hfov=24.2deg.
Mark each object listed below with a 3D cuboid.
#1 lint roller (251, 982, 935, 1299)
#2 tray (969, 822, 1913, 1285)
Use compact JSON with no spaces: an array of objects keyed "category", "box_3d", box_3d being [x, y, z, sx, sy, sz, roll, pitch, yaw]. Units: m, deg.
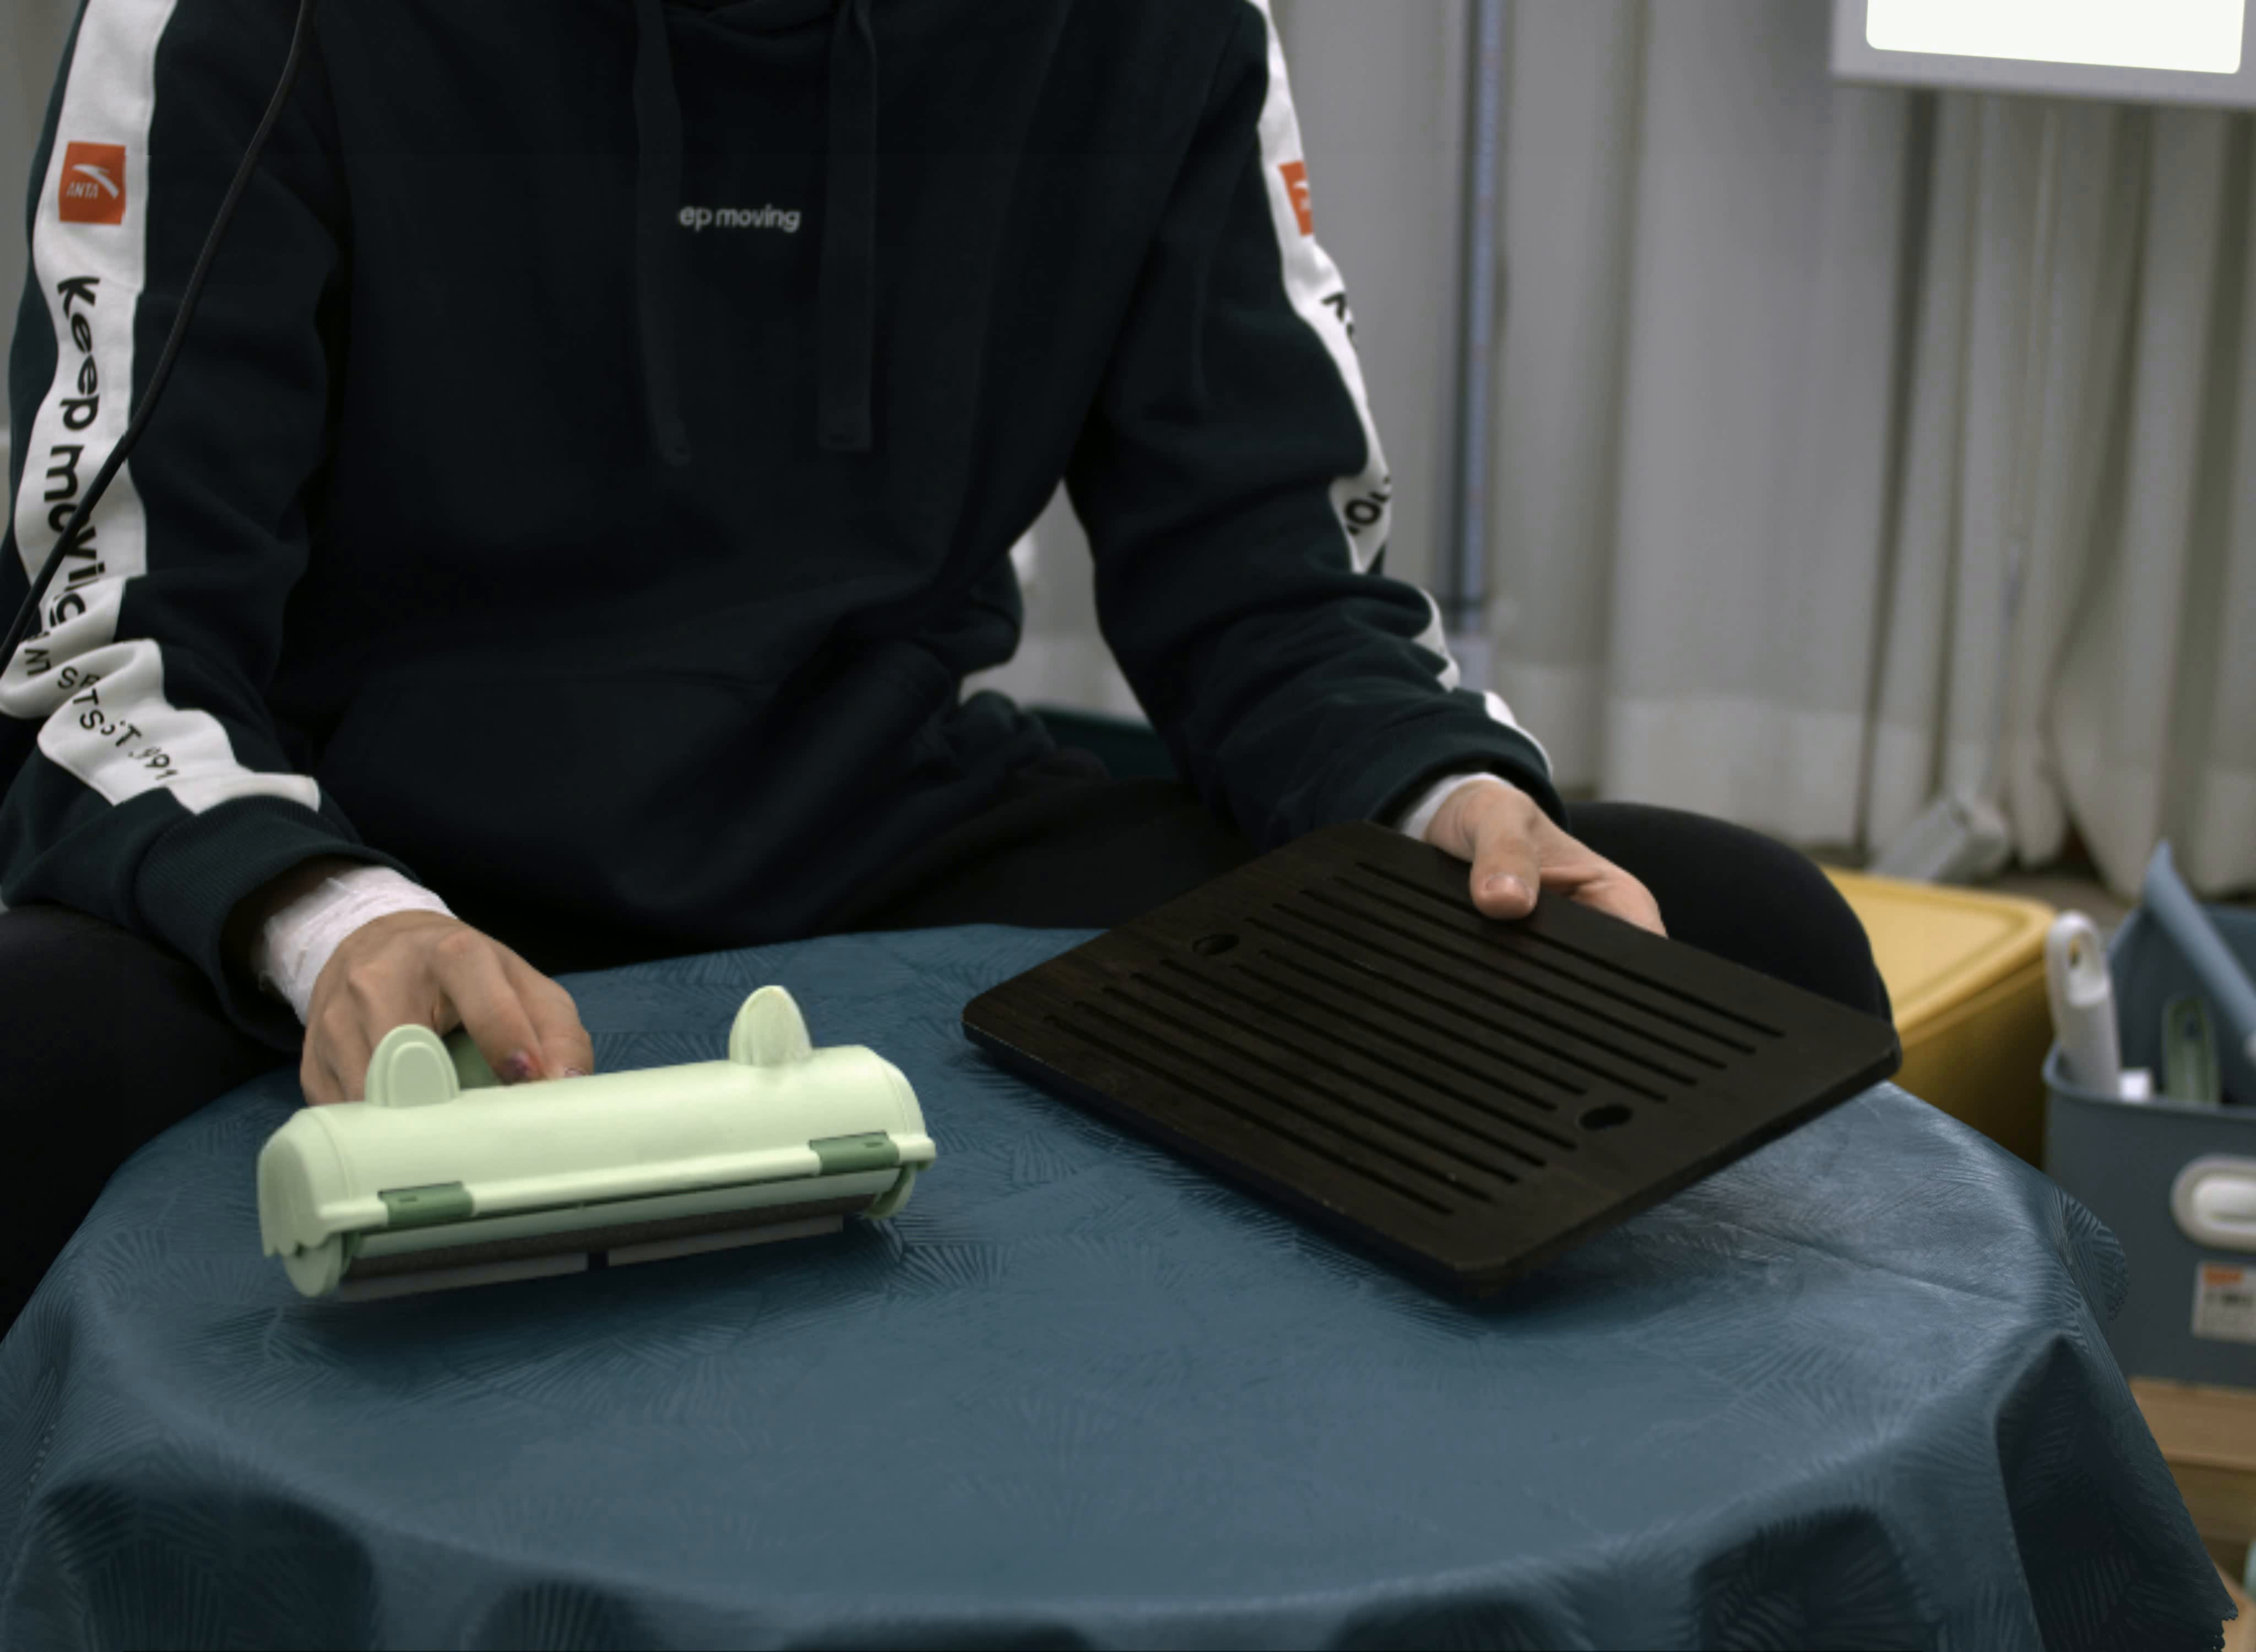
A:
[{"category":"lint roller","box_3d":[-0.181,0.074,1.576,0.199,0.083,0.181,-5,24,-30]},{"category":"tray","box_3d":[0.092,0.068,1.664,0.170,0.019,0.302,-26,25,-26]}]
